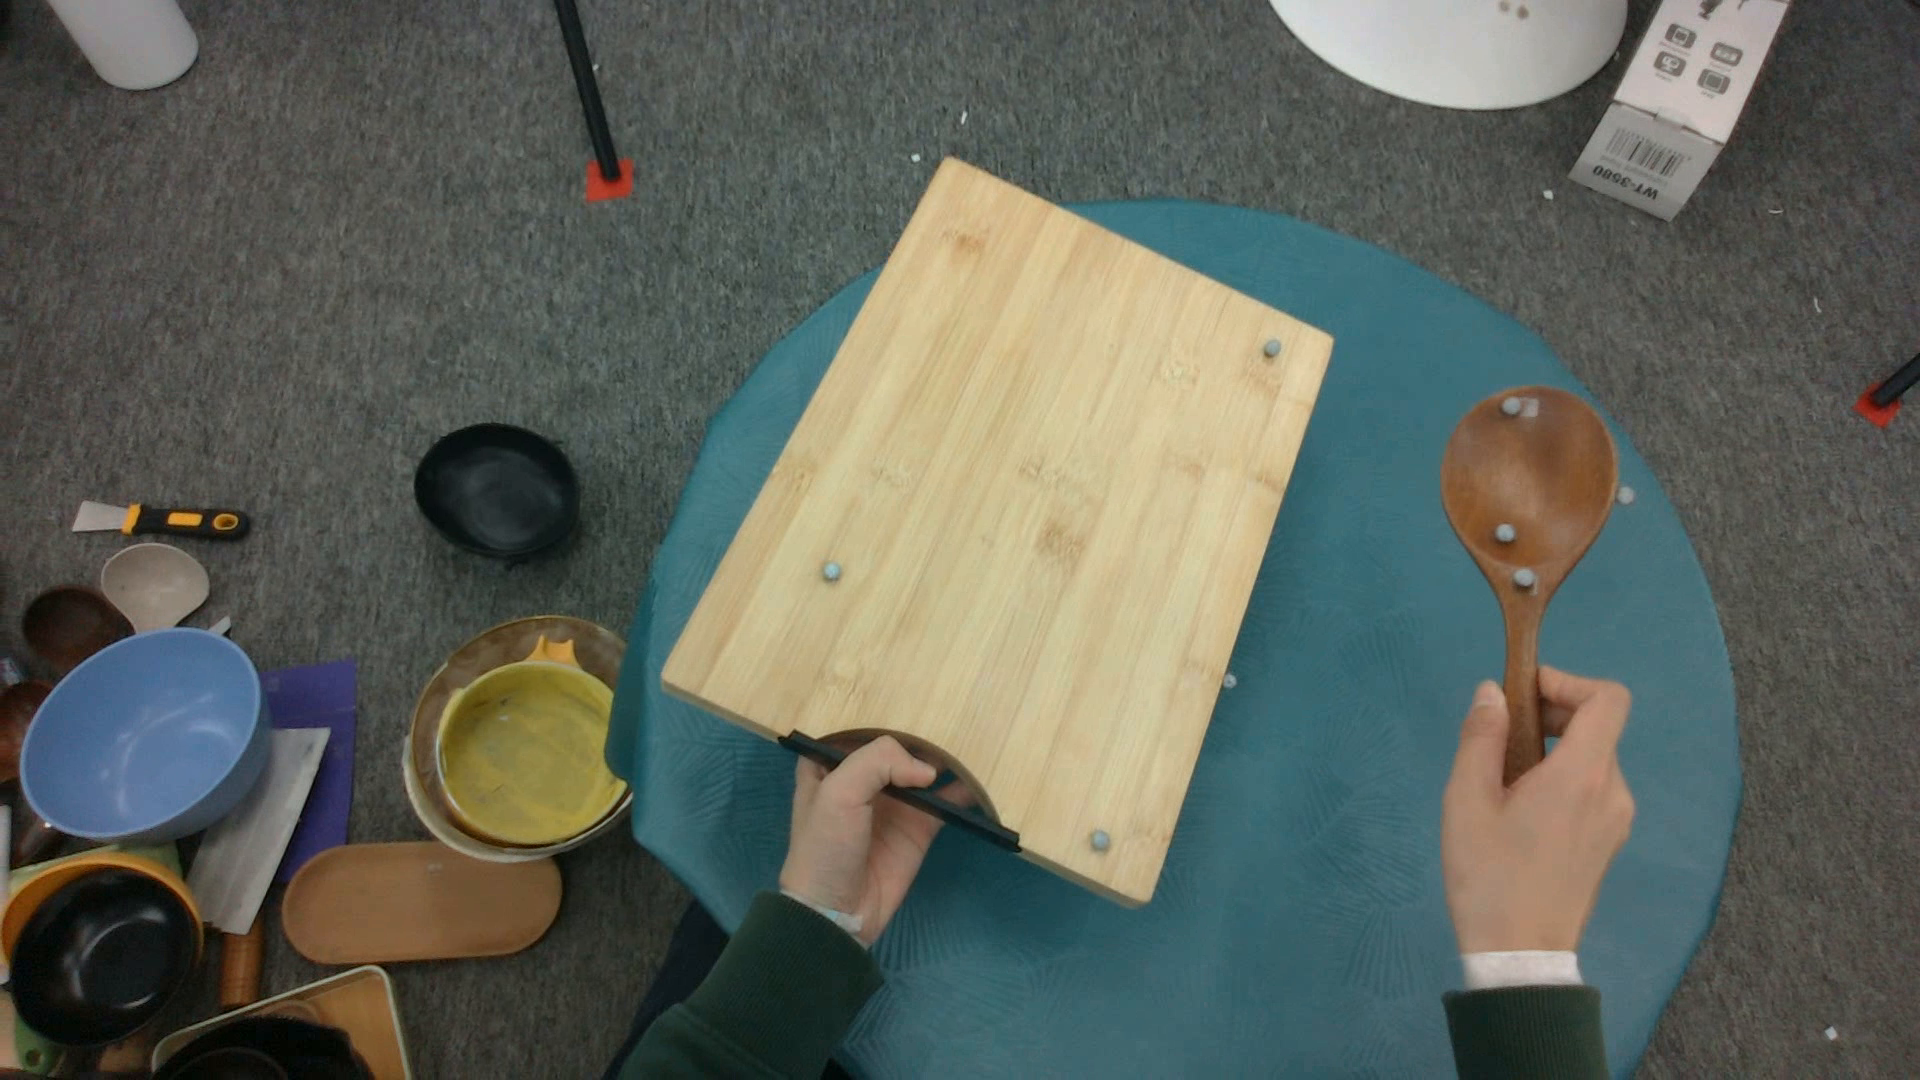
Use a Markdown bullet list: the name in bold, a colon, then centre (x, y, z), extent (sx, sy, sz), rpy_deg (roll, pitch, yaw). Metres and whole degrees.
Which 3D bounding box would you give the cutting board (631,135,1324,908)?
- **cutting board**: centre (0.029, -0.027, 0.687), extent (0.251, 0.023, 0.350), rpy_deg (24, 63, -3)

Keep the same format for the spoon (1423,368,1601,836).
- **spoon**: centre (0.240, 0.022, 0.605), extent (0.075, 0.017, 0.216), rpy_deg (2, 68, 21)
